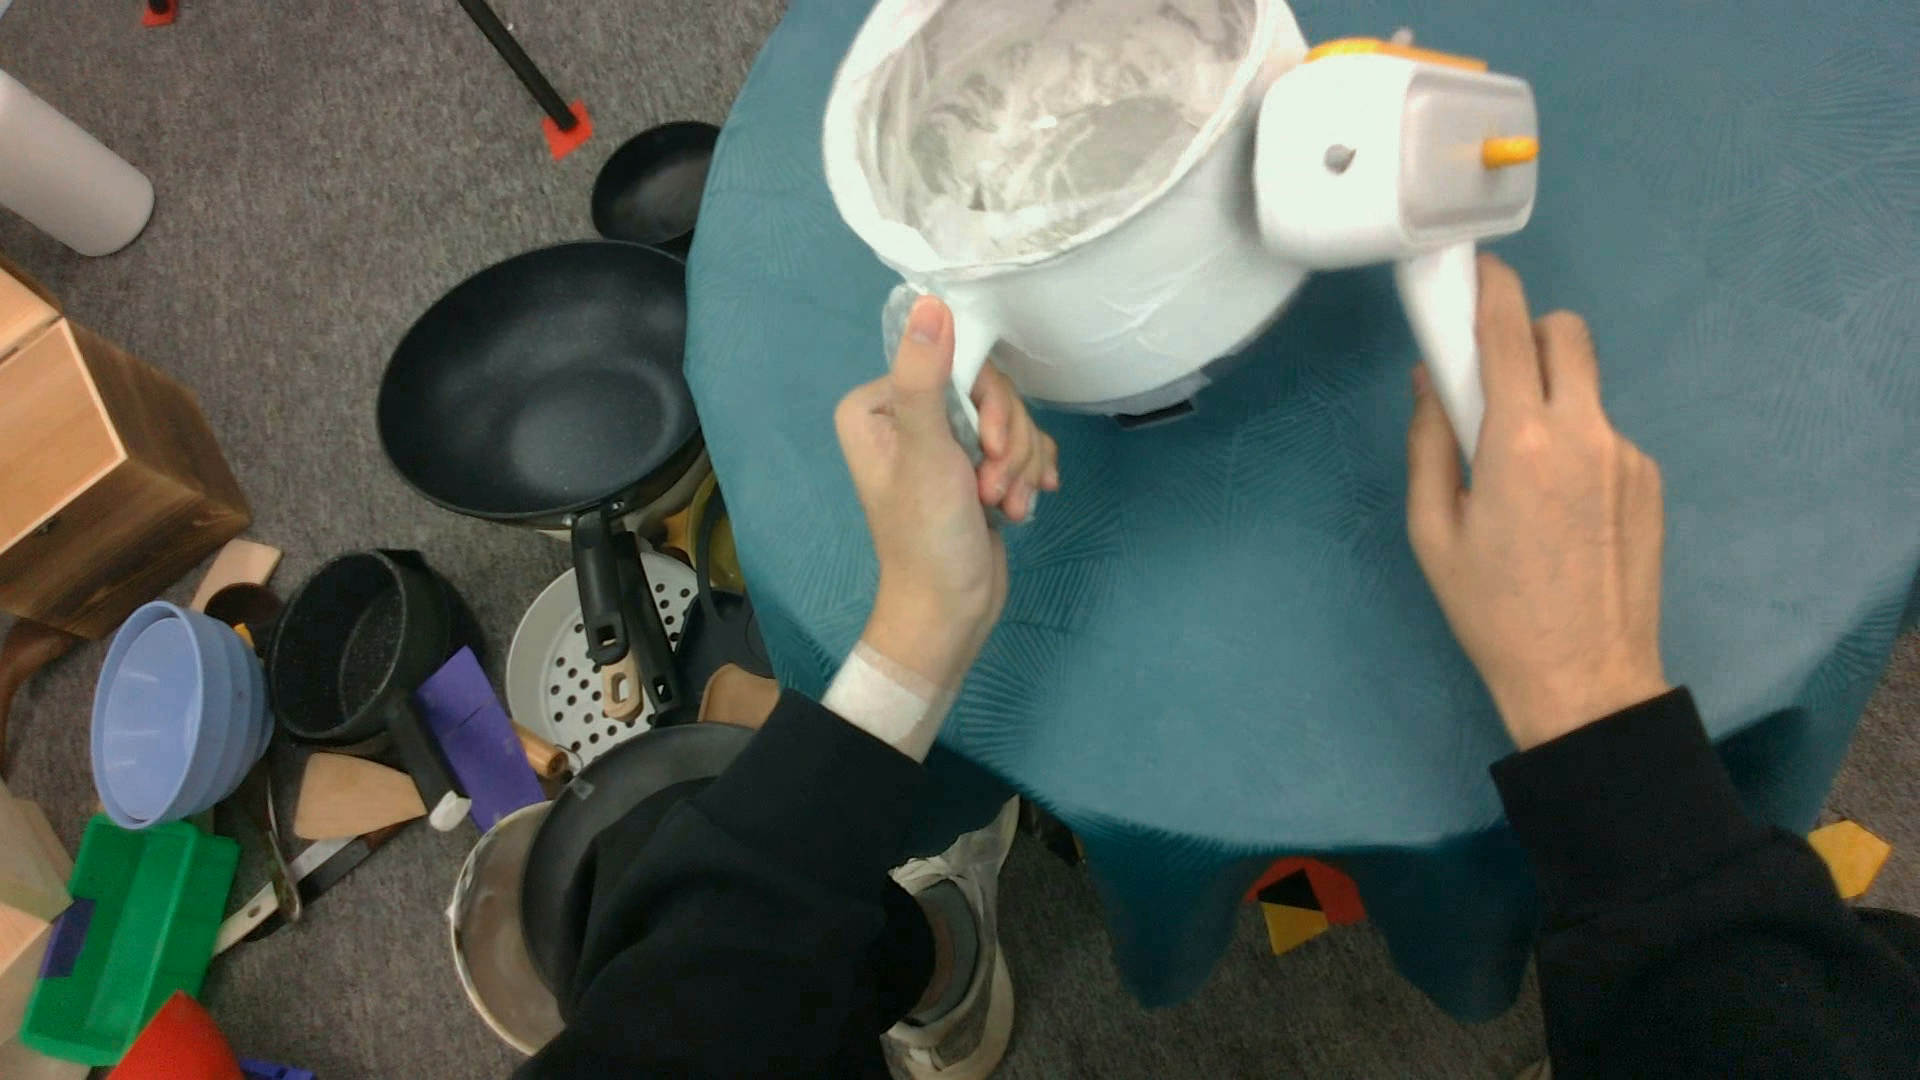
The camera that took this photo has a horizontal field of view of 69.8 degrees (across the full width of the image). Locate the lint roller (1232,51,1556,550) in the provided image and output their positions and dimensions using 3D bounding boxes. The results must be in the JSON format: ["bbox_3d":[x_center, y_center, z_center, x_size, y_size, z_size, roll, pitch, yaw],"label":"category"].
[{"bbox_3d":[0.175,-0.086,0.514,0.074,0.193,0.192,-8,101,32],"label":"lint roller"}]

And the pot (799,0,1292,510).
[{"bbox_3d":[0.034,-0.132,0.541,0.178,0.136,0.234,17,76,34],"label":"pot"}]
